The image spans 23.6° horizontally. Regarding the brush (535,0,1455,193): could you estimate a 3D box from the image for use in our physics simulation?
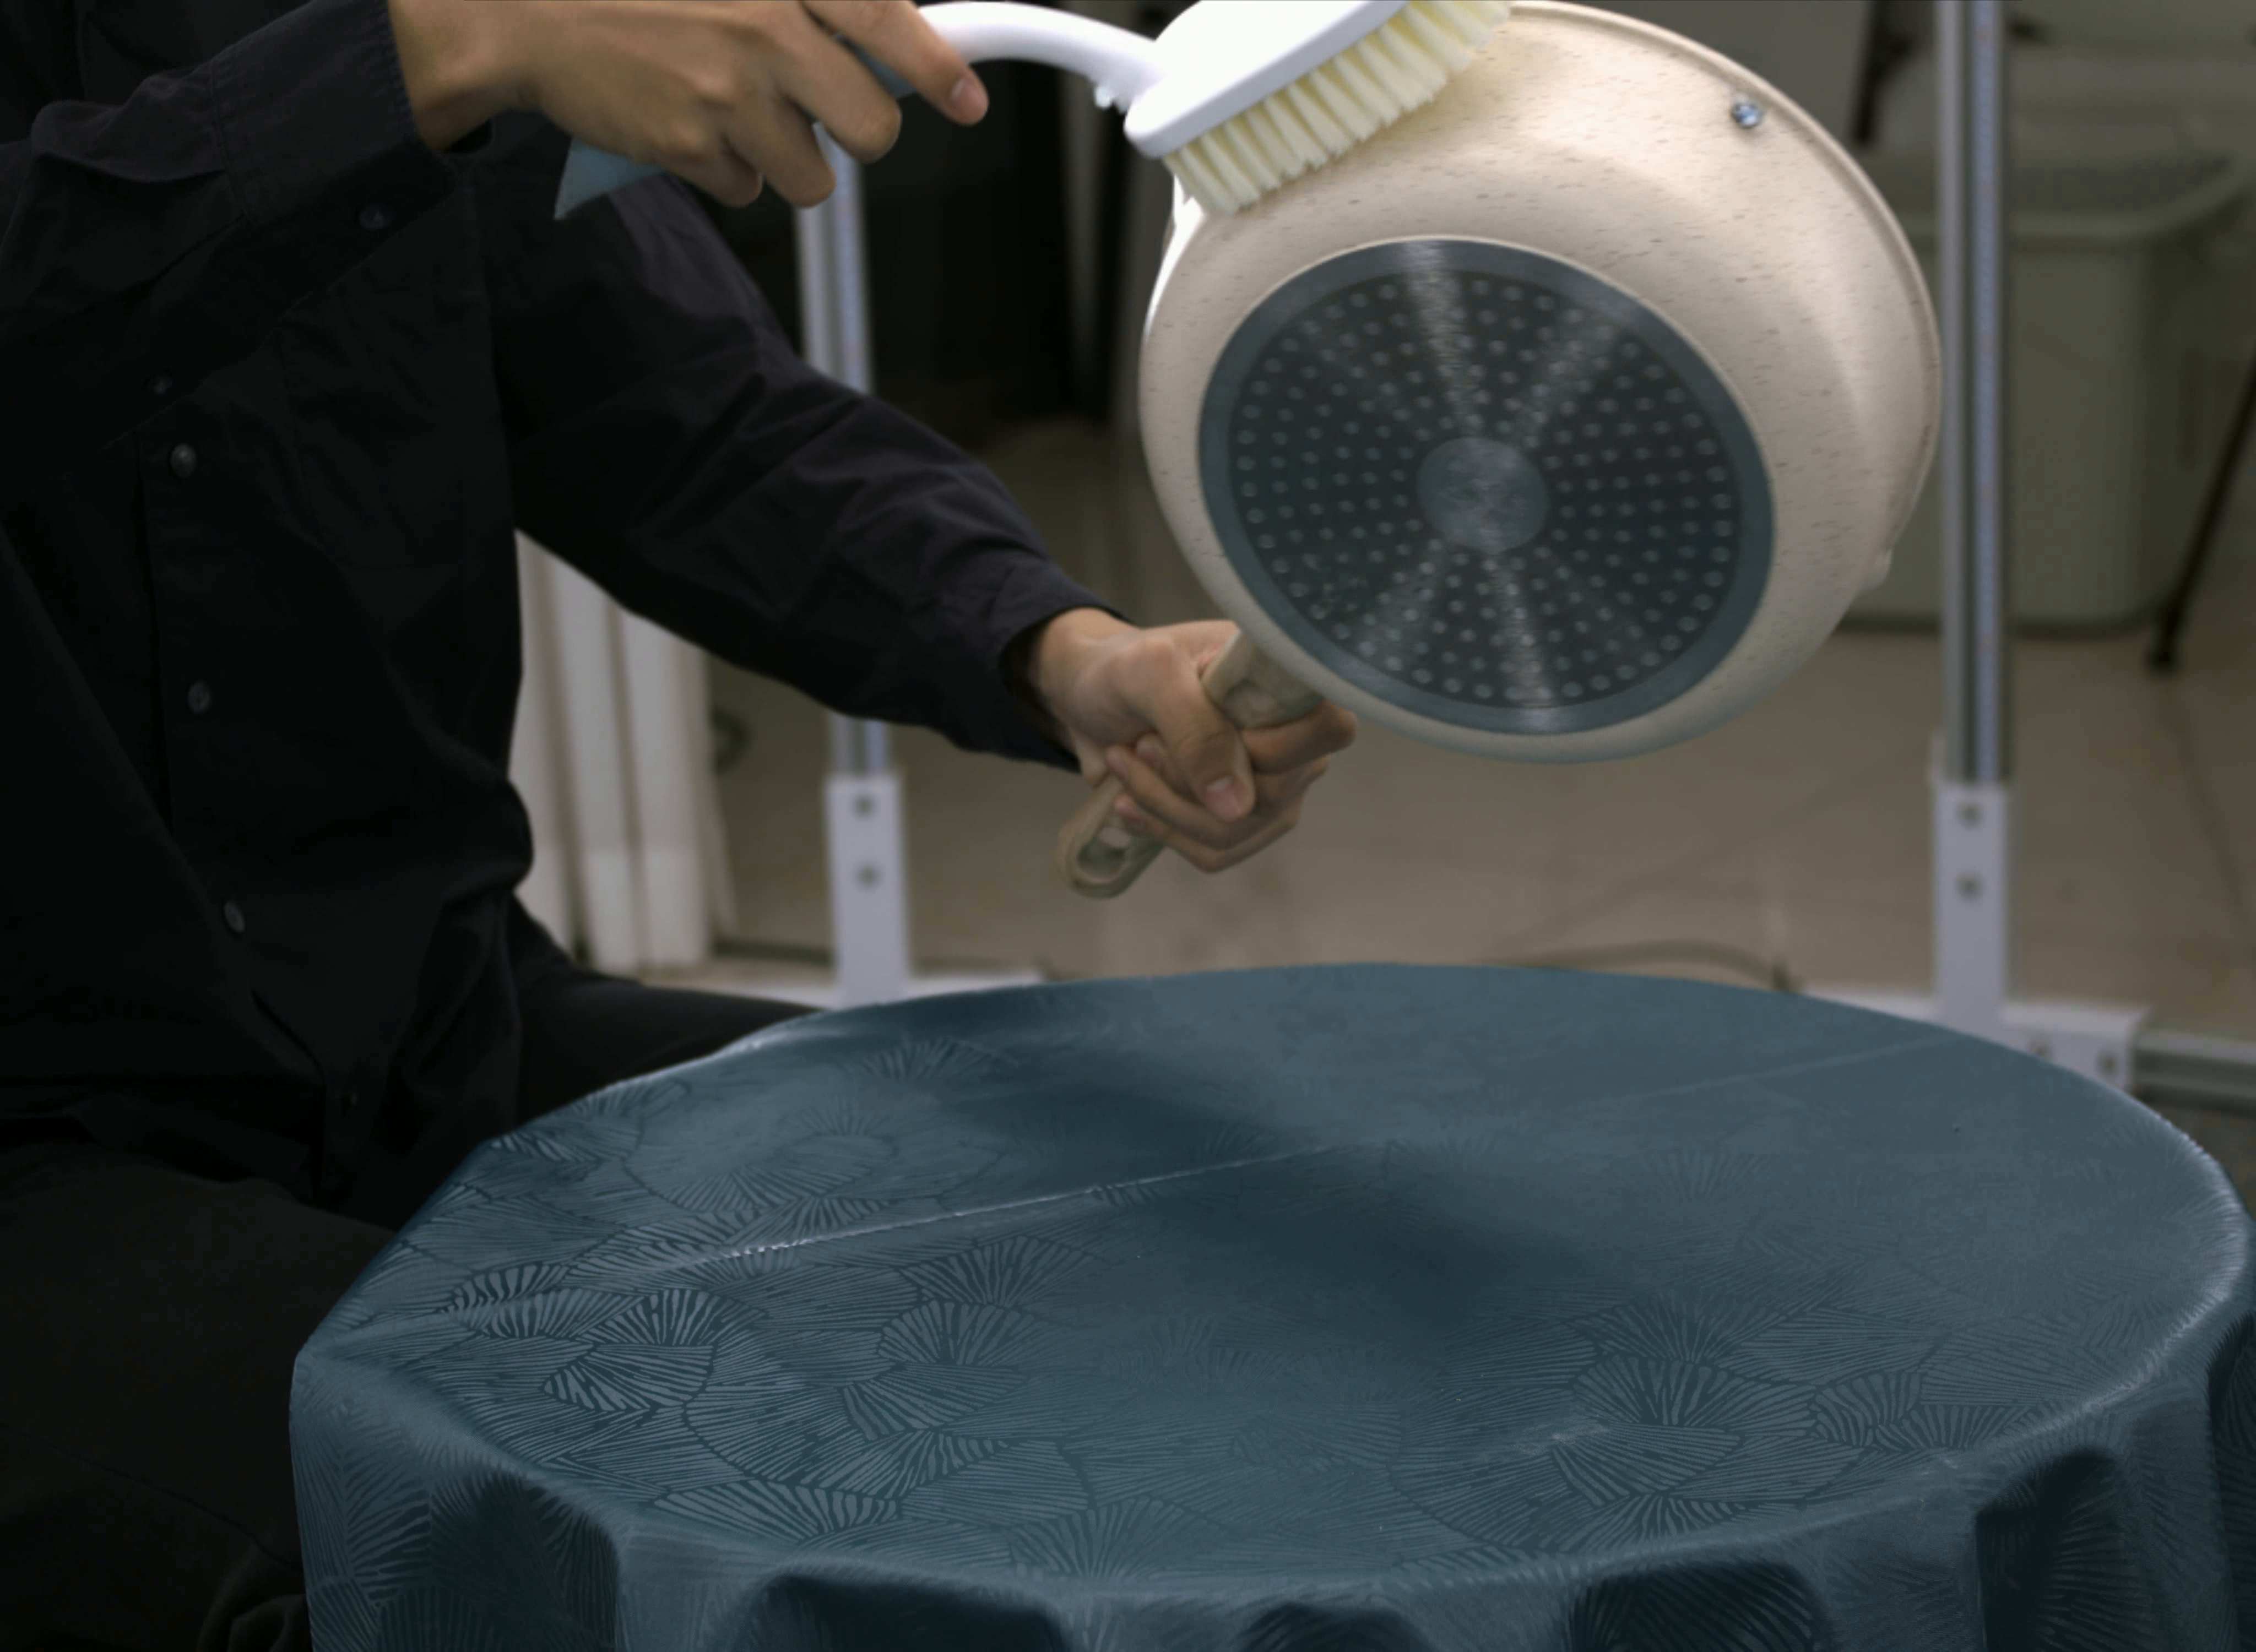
[{"bbox_3d":[-0.030,-0.220,1.626,0.326,0.085,0.082,-15,-3,27],"label":"brush"}]

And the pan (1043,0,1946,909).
[{"bbox_3d":[0.077,-0.077,1.713,0.261,0.439,0.102,34,42,-7],"label":"pan"}]
